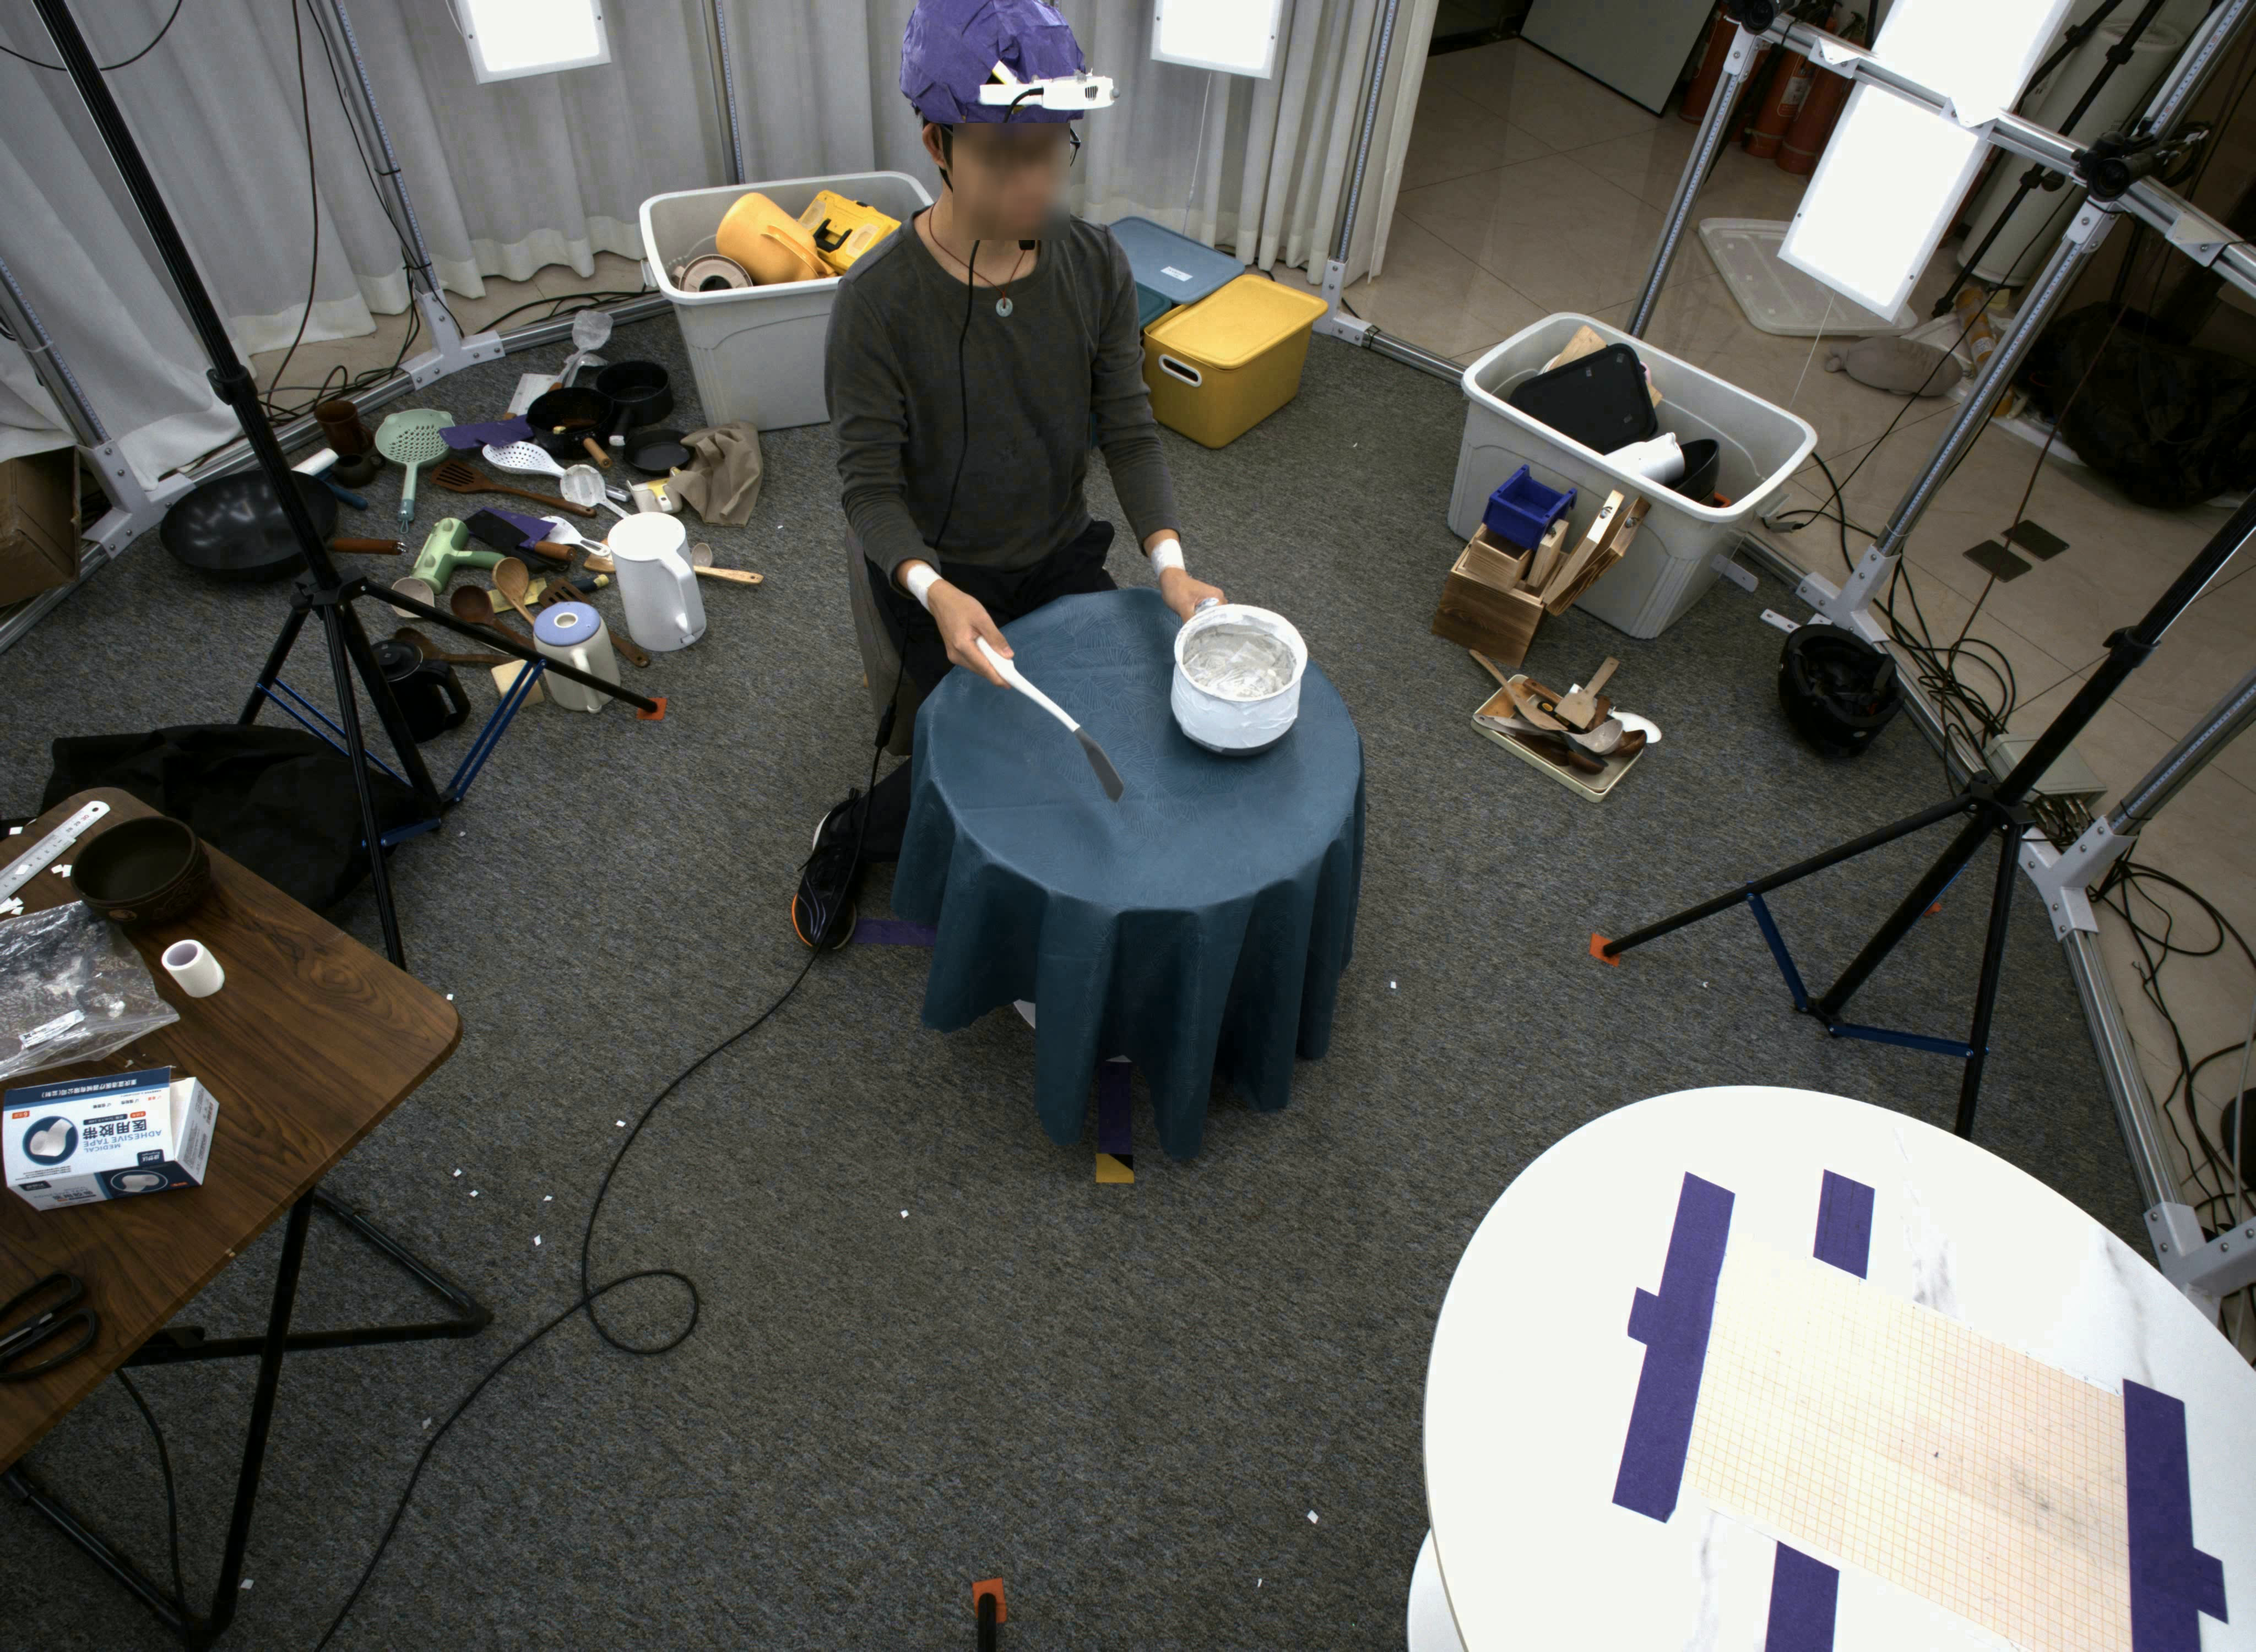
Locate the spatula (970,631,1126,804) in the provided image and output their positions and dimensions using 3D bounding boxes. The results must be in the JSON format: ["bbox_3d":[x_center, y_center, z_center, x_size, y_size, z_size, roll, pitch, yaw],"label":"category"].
[{"bbox_3d":[-0.098,-0.143,1.655,0.032,0.057,0.290,-37,76,-28],"label":"spatula"}]

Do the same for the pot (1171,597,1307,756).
[{"bbox_3d":[0.139,-0.216,1.768,0.179,0.133,0.239,-16,55,-13],"label":"pot"}]
